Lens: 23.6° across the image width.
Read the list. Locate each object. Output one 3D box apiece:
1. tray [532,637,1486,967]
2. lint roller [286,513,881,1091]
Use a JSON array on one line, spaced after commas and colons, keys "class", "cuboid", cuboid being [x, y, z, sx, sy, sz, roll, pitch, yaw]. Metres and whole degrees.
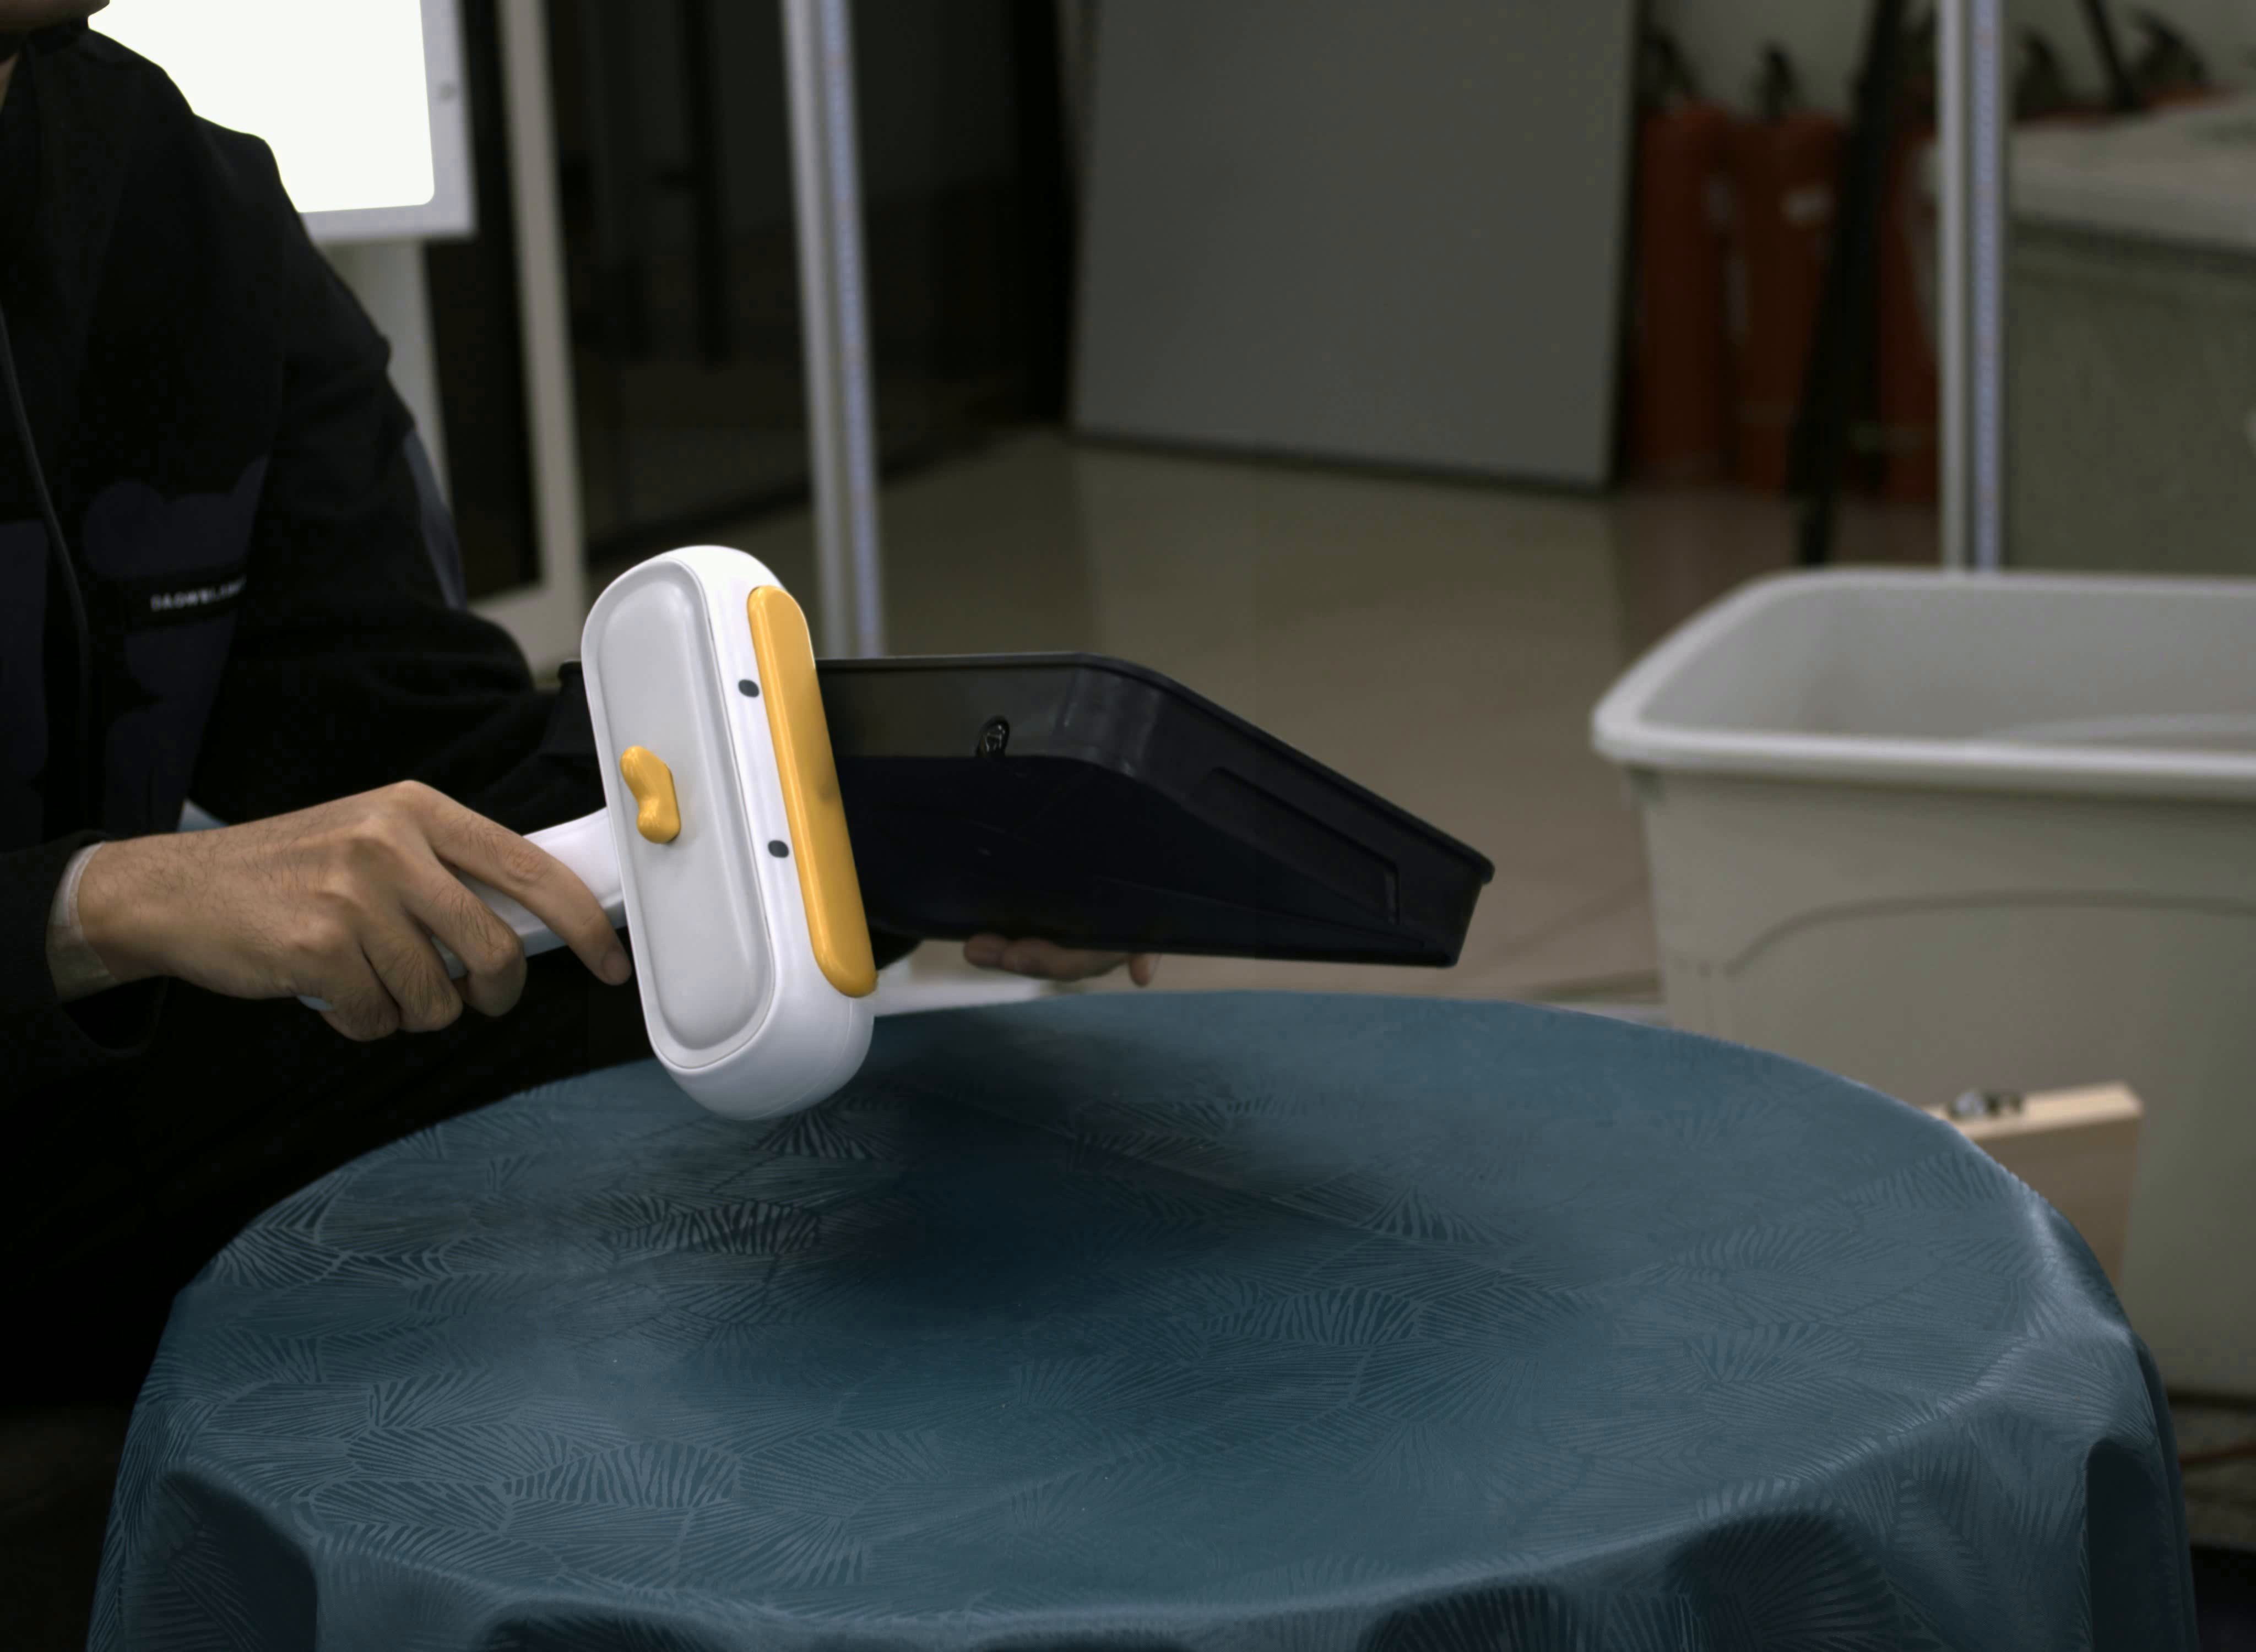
[{"class": "tray", "cuboid": [-0.046, -0.006, 1.789, 0.181, 0.037, 0.321, 29, -18, -36]}, {"class": "lint roller", "cuboid": [-0.179, 0.016, 1.720, 0.193, 0.195, 0.073, -29, -26, 21]}]
